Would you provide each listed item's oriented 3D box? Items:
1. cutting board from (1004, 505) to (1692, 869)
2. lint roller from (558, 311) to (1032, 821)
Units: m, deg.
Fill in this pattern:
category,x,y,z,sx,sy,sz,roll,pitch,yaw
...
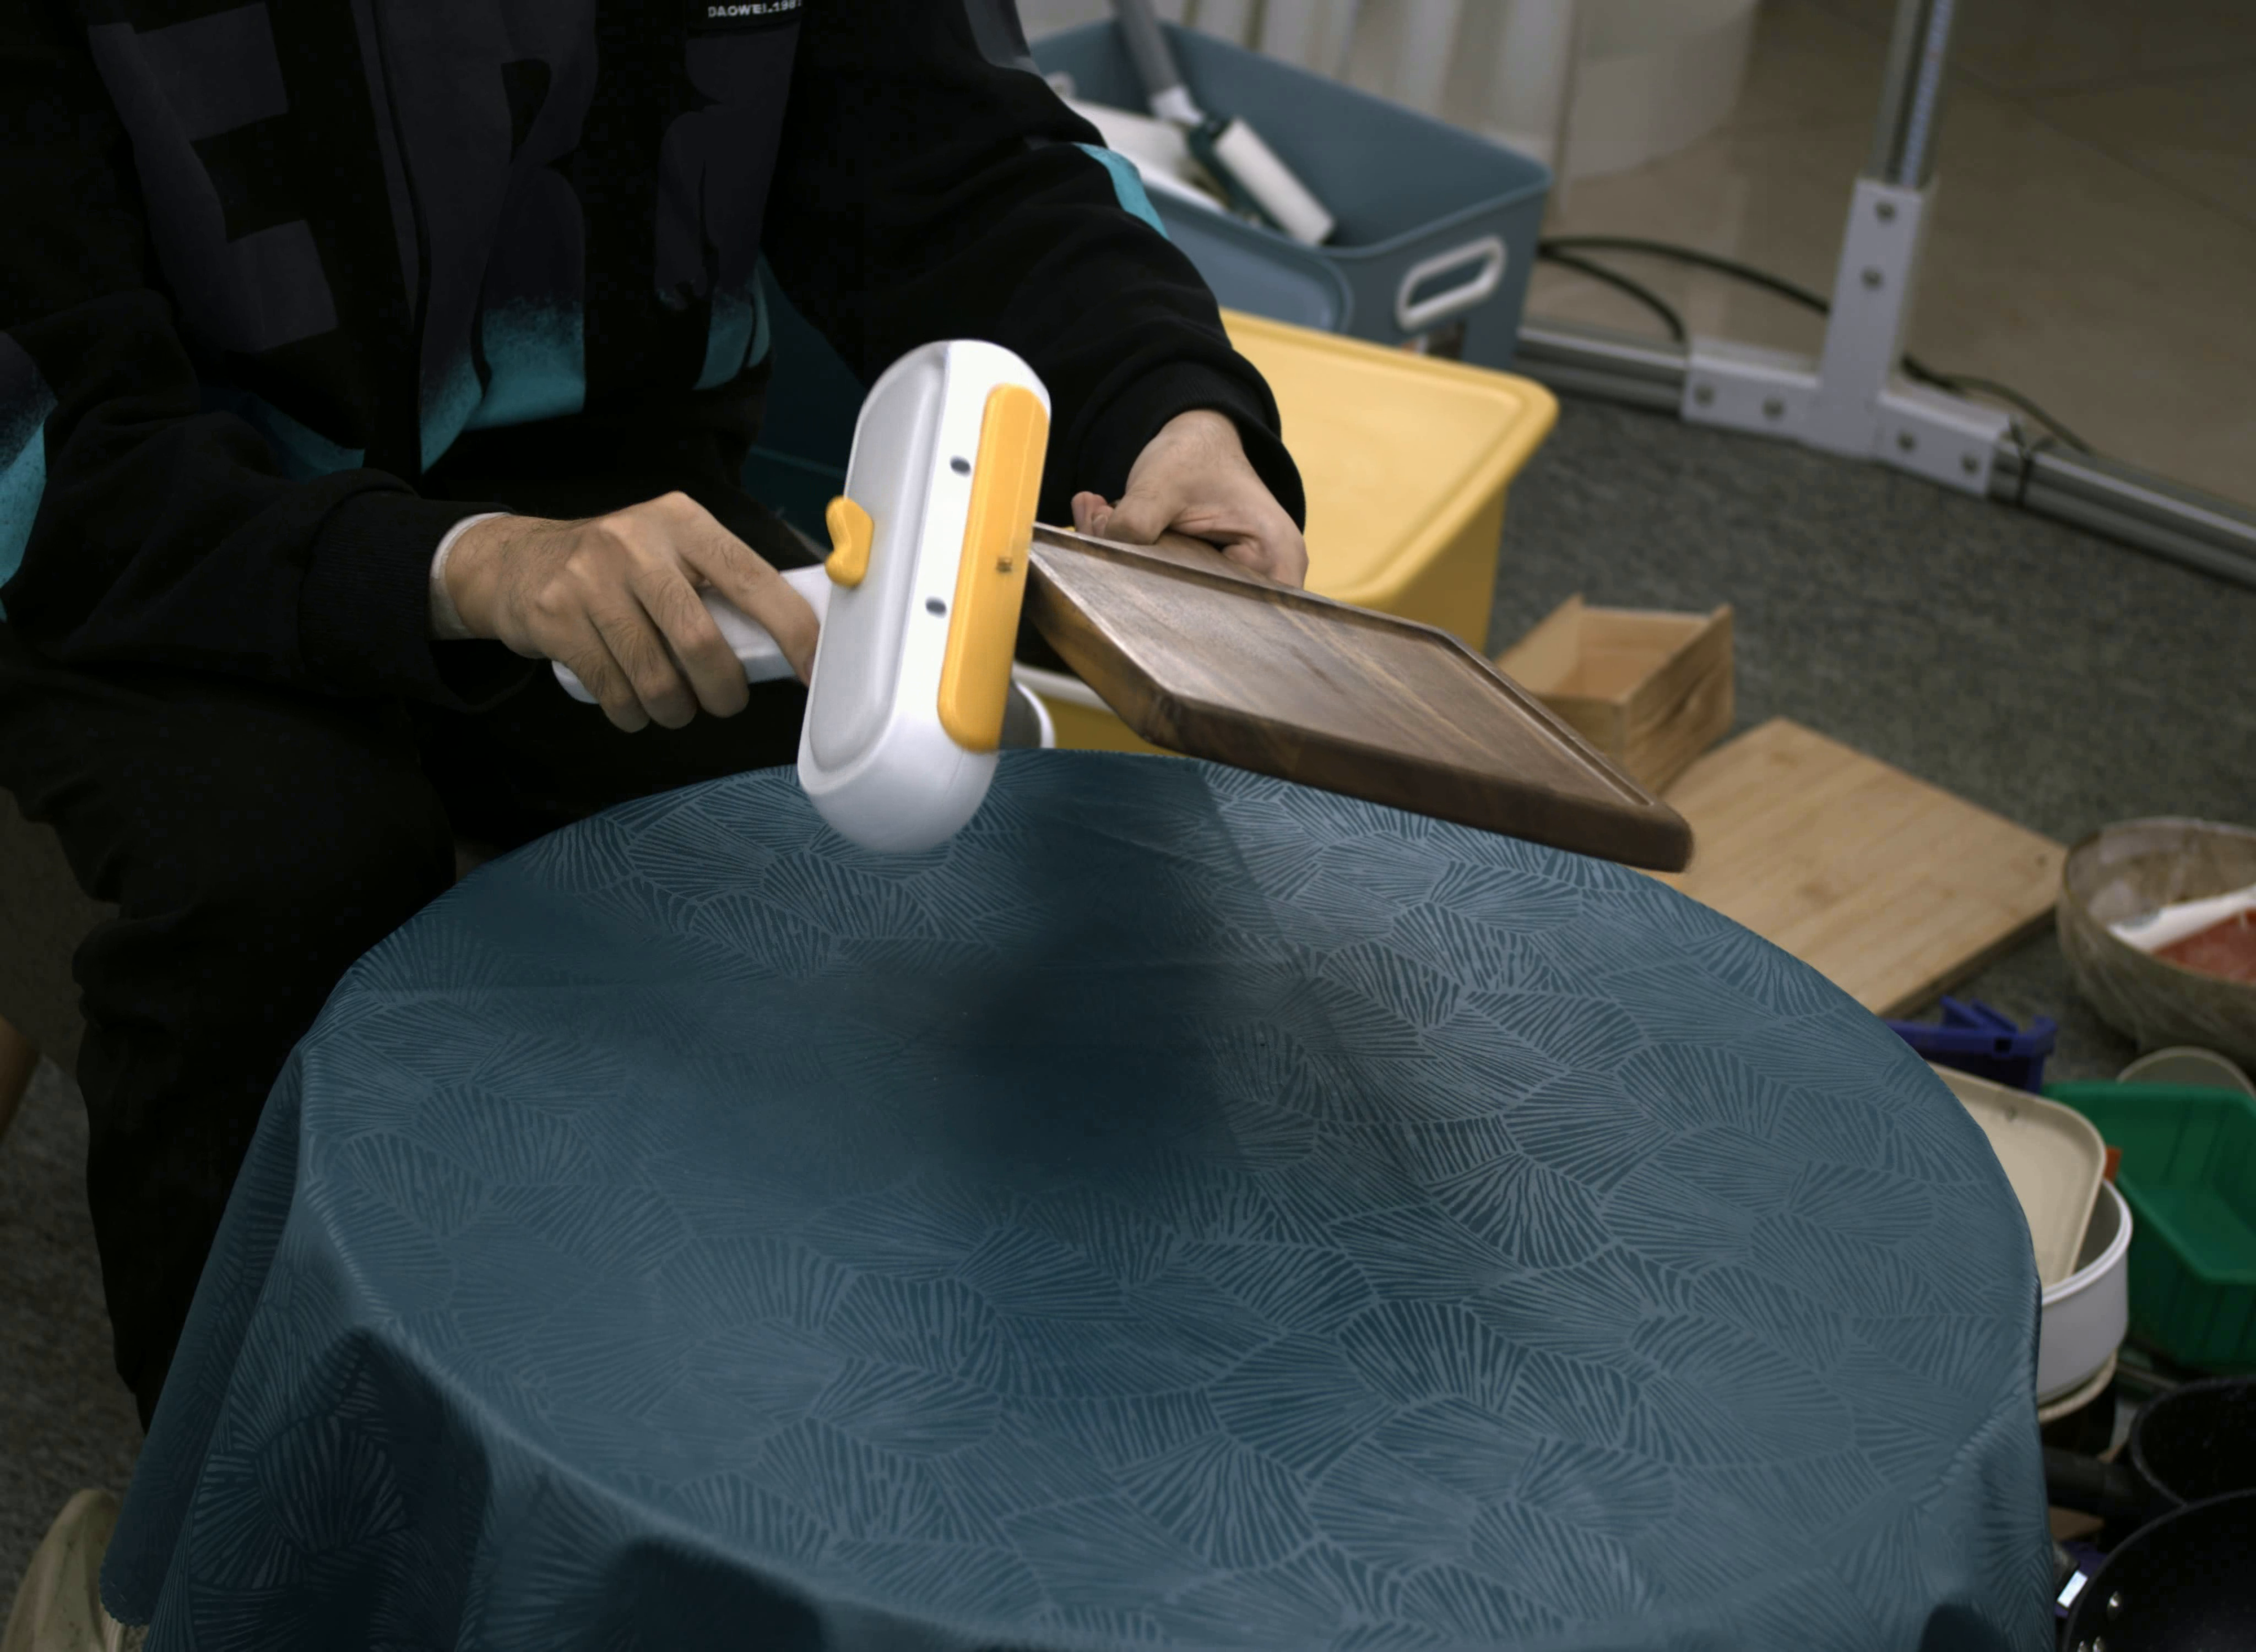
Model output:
category,x,y,z,sx,sy,sz,roll,pitch,yaw
cutting board,0.048,-0.062,1.881,0.199,0.023,0.354,13,12,-20
lint roller,-0.117,-0.075,1.871,0.073,0.193,0.194,28,50,-39
